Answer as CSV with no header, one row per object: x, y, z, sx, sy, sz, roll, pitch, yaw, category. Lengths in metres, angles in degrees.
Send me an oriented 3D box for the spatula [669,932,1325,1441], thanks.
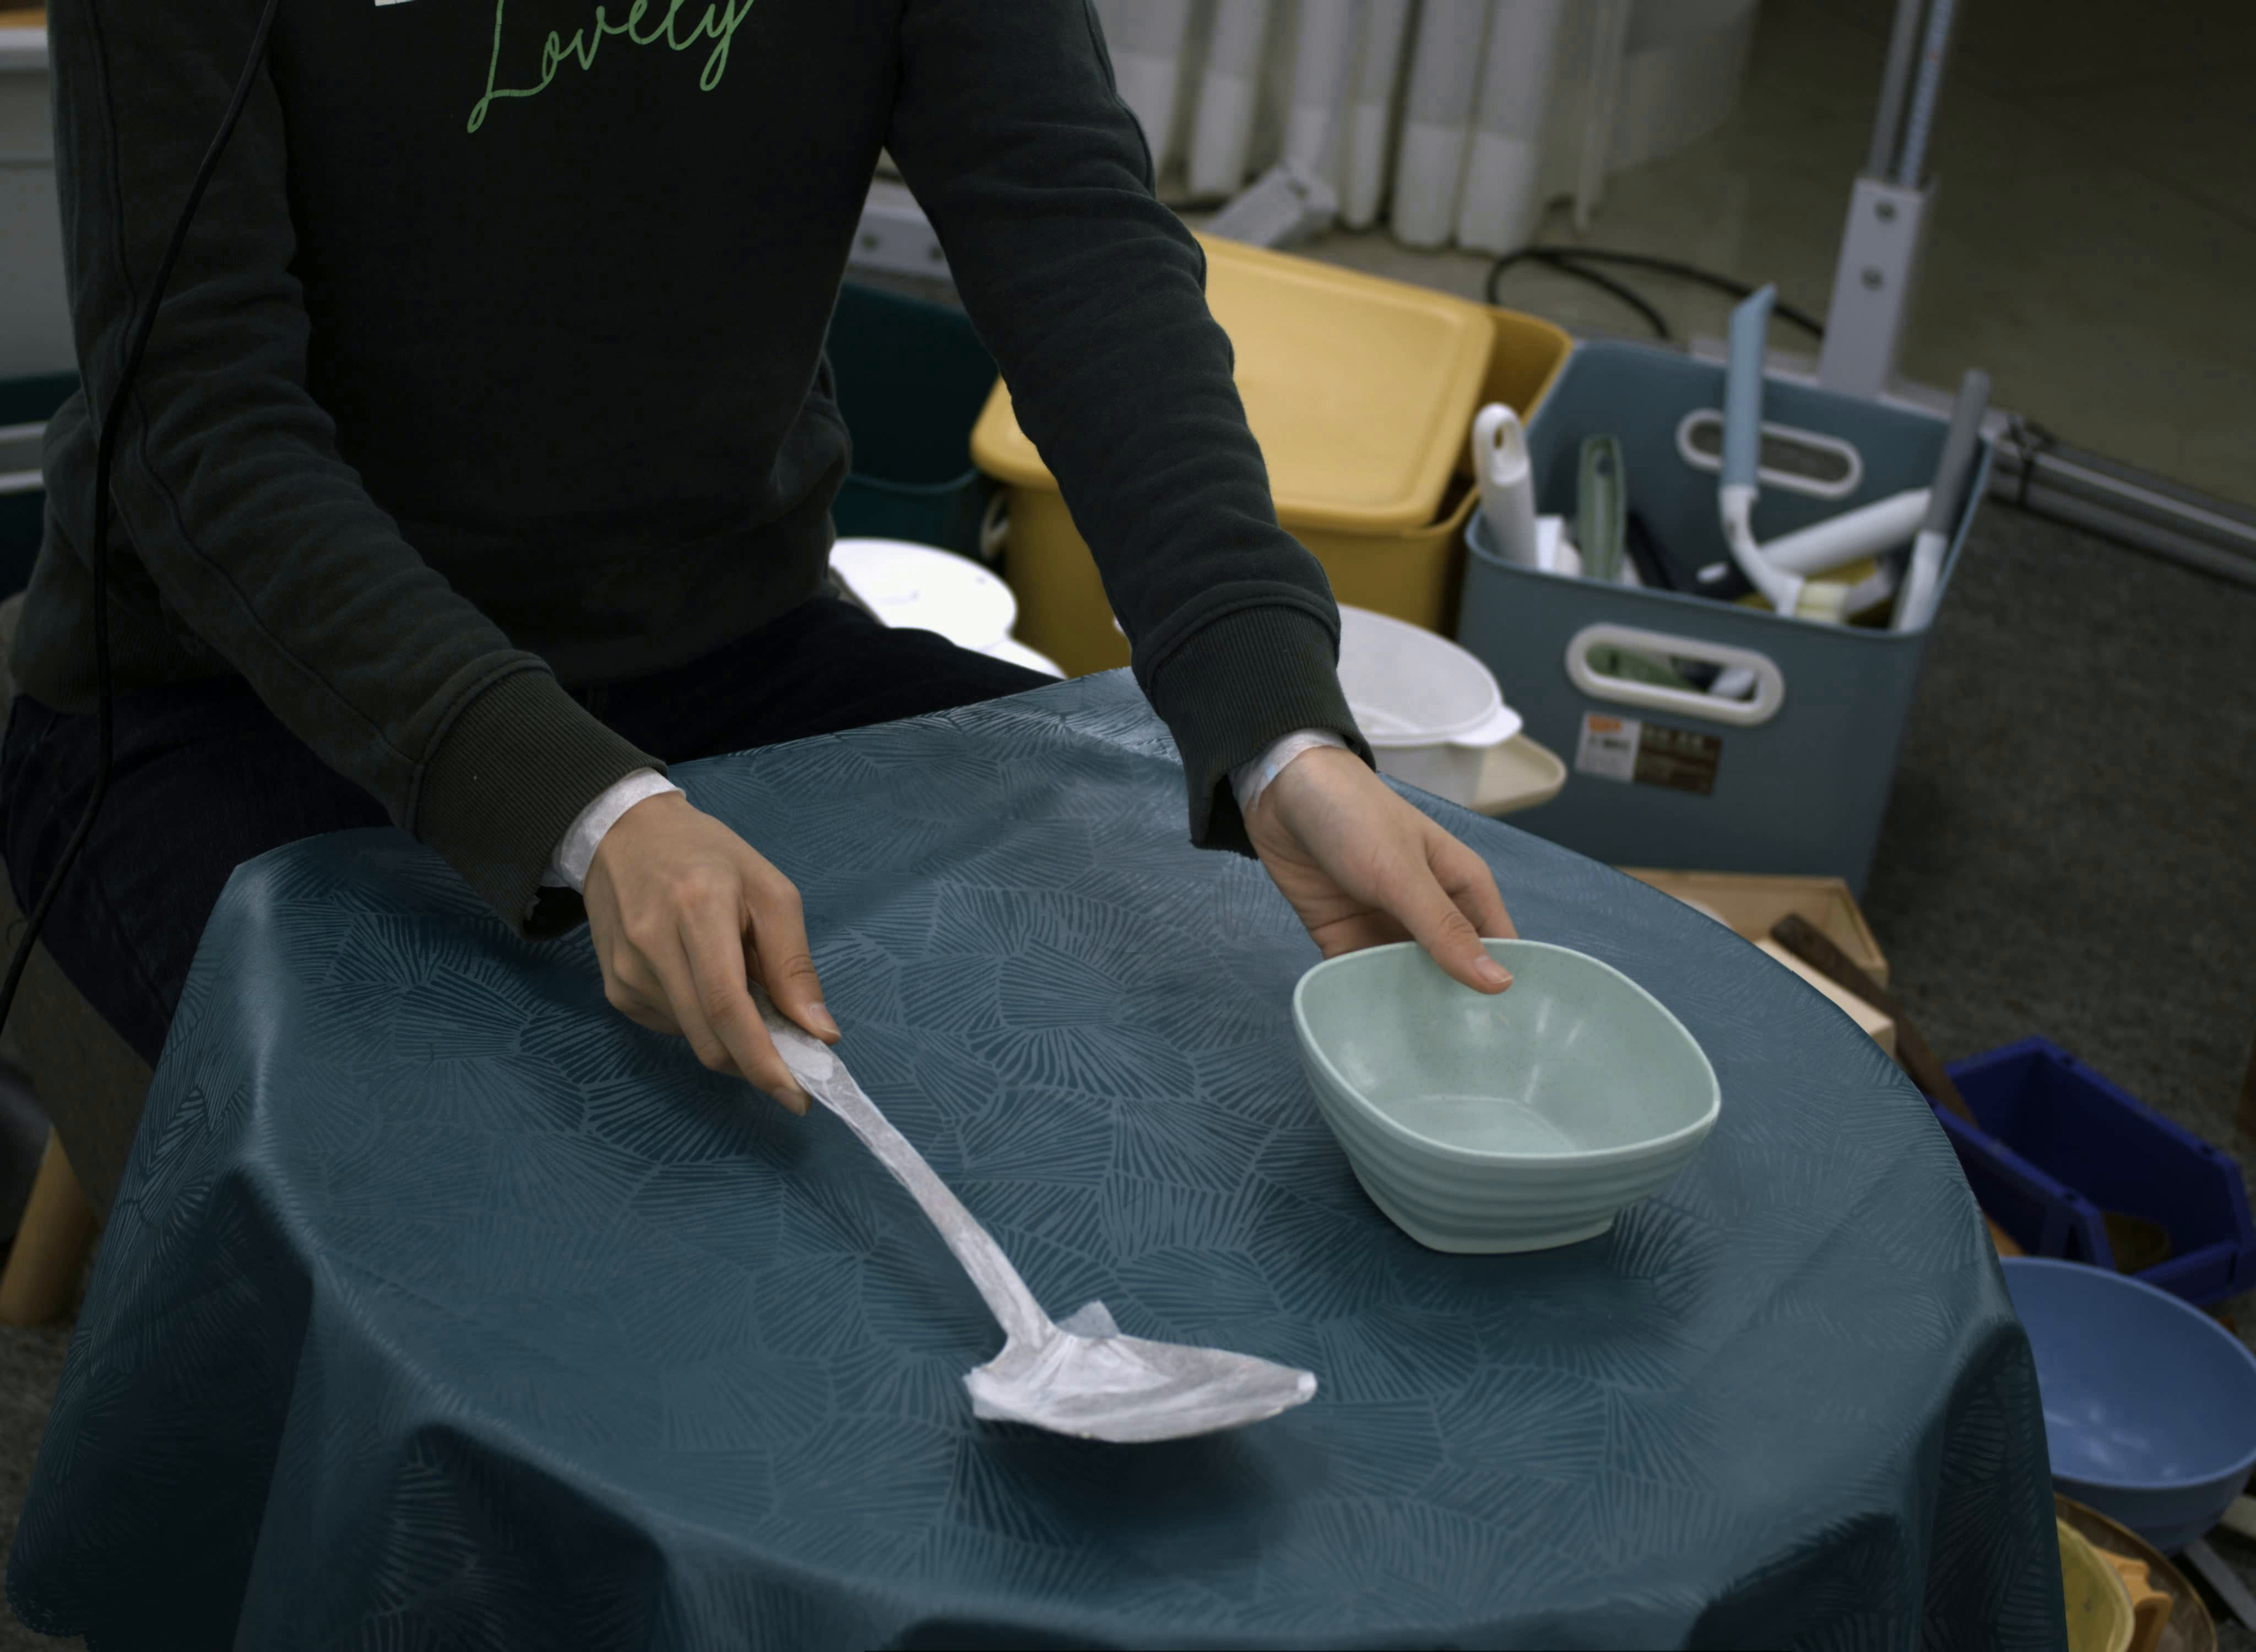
-0.067,0.110,1.745,0.098,0.044,0.368,-9,34,-31,spatula

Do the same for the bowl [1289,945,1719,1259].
0.123,0.100,1.811,0.151,0.058,0.152,8,27,-4,bowl
